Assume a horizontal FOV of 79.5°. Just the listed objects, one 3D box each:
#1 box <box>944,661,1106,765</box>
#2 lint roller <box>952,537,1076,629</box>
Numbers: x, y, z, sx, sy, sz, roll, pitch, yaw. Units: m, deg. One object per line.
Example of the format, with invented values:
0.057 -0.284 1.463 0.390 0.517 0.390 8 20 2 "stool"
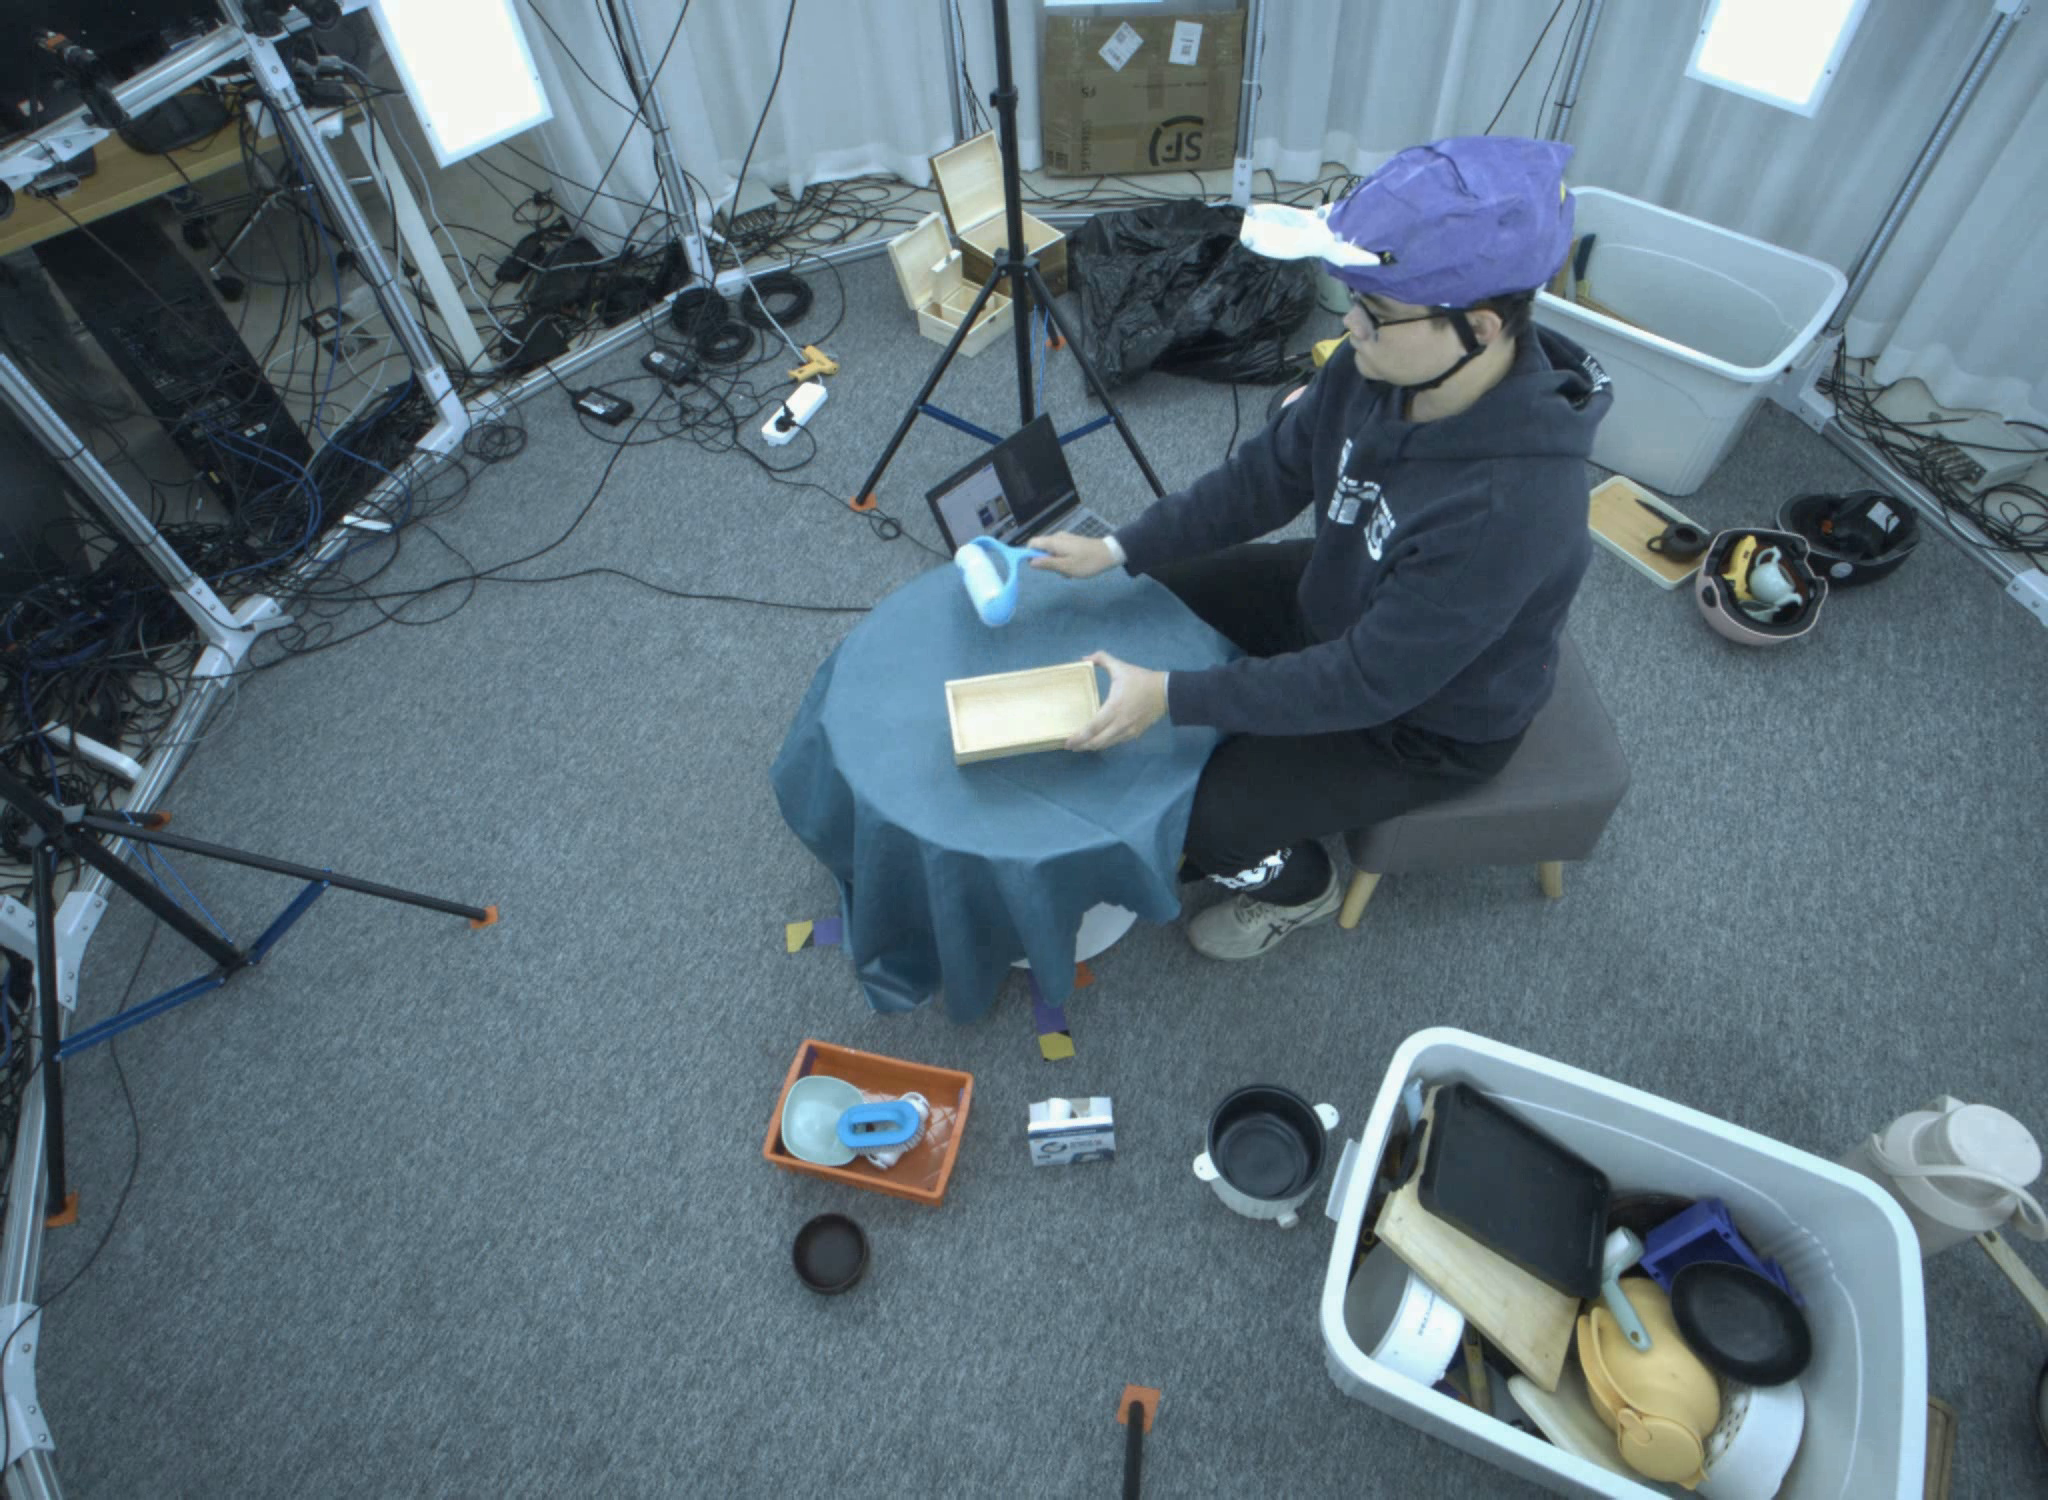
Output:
0.000 -0.051 1.744 0.212 0.080 0.107 -9 82 -6 "box"
-0.013 -0.275 1.885 0.181 0.069 0.224 -21 36 -4 "lint roller"
